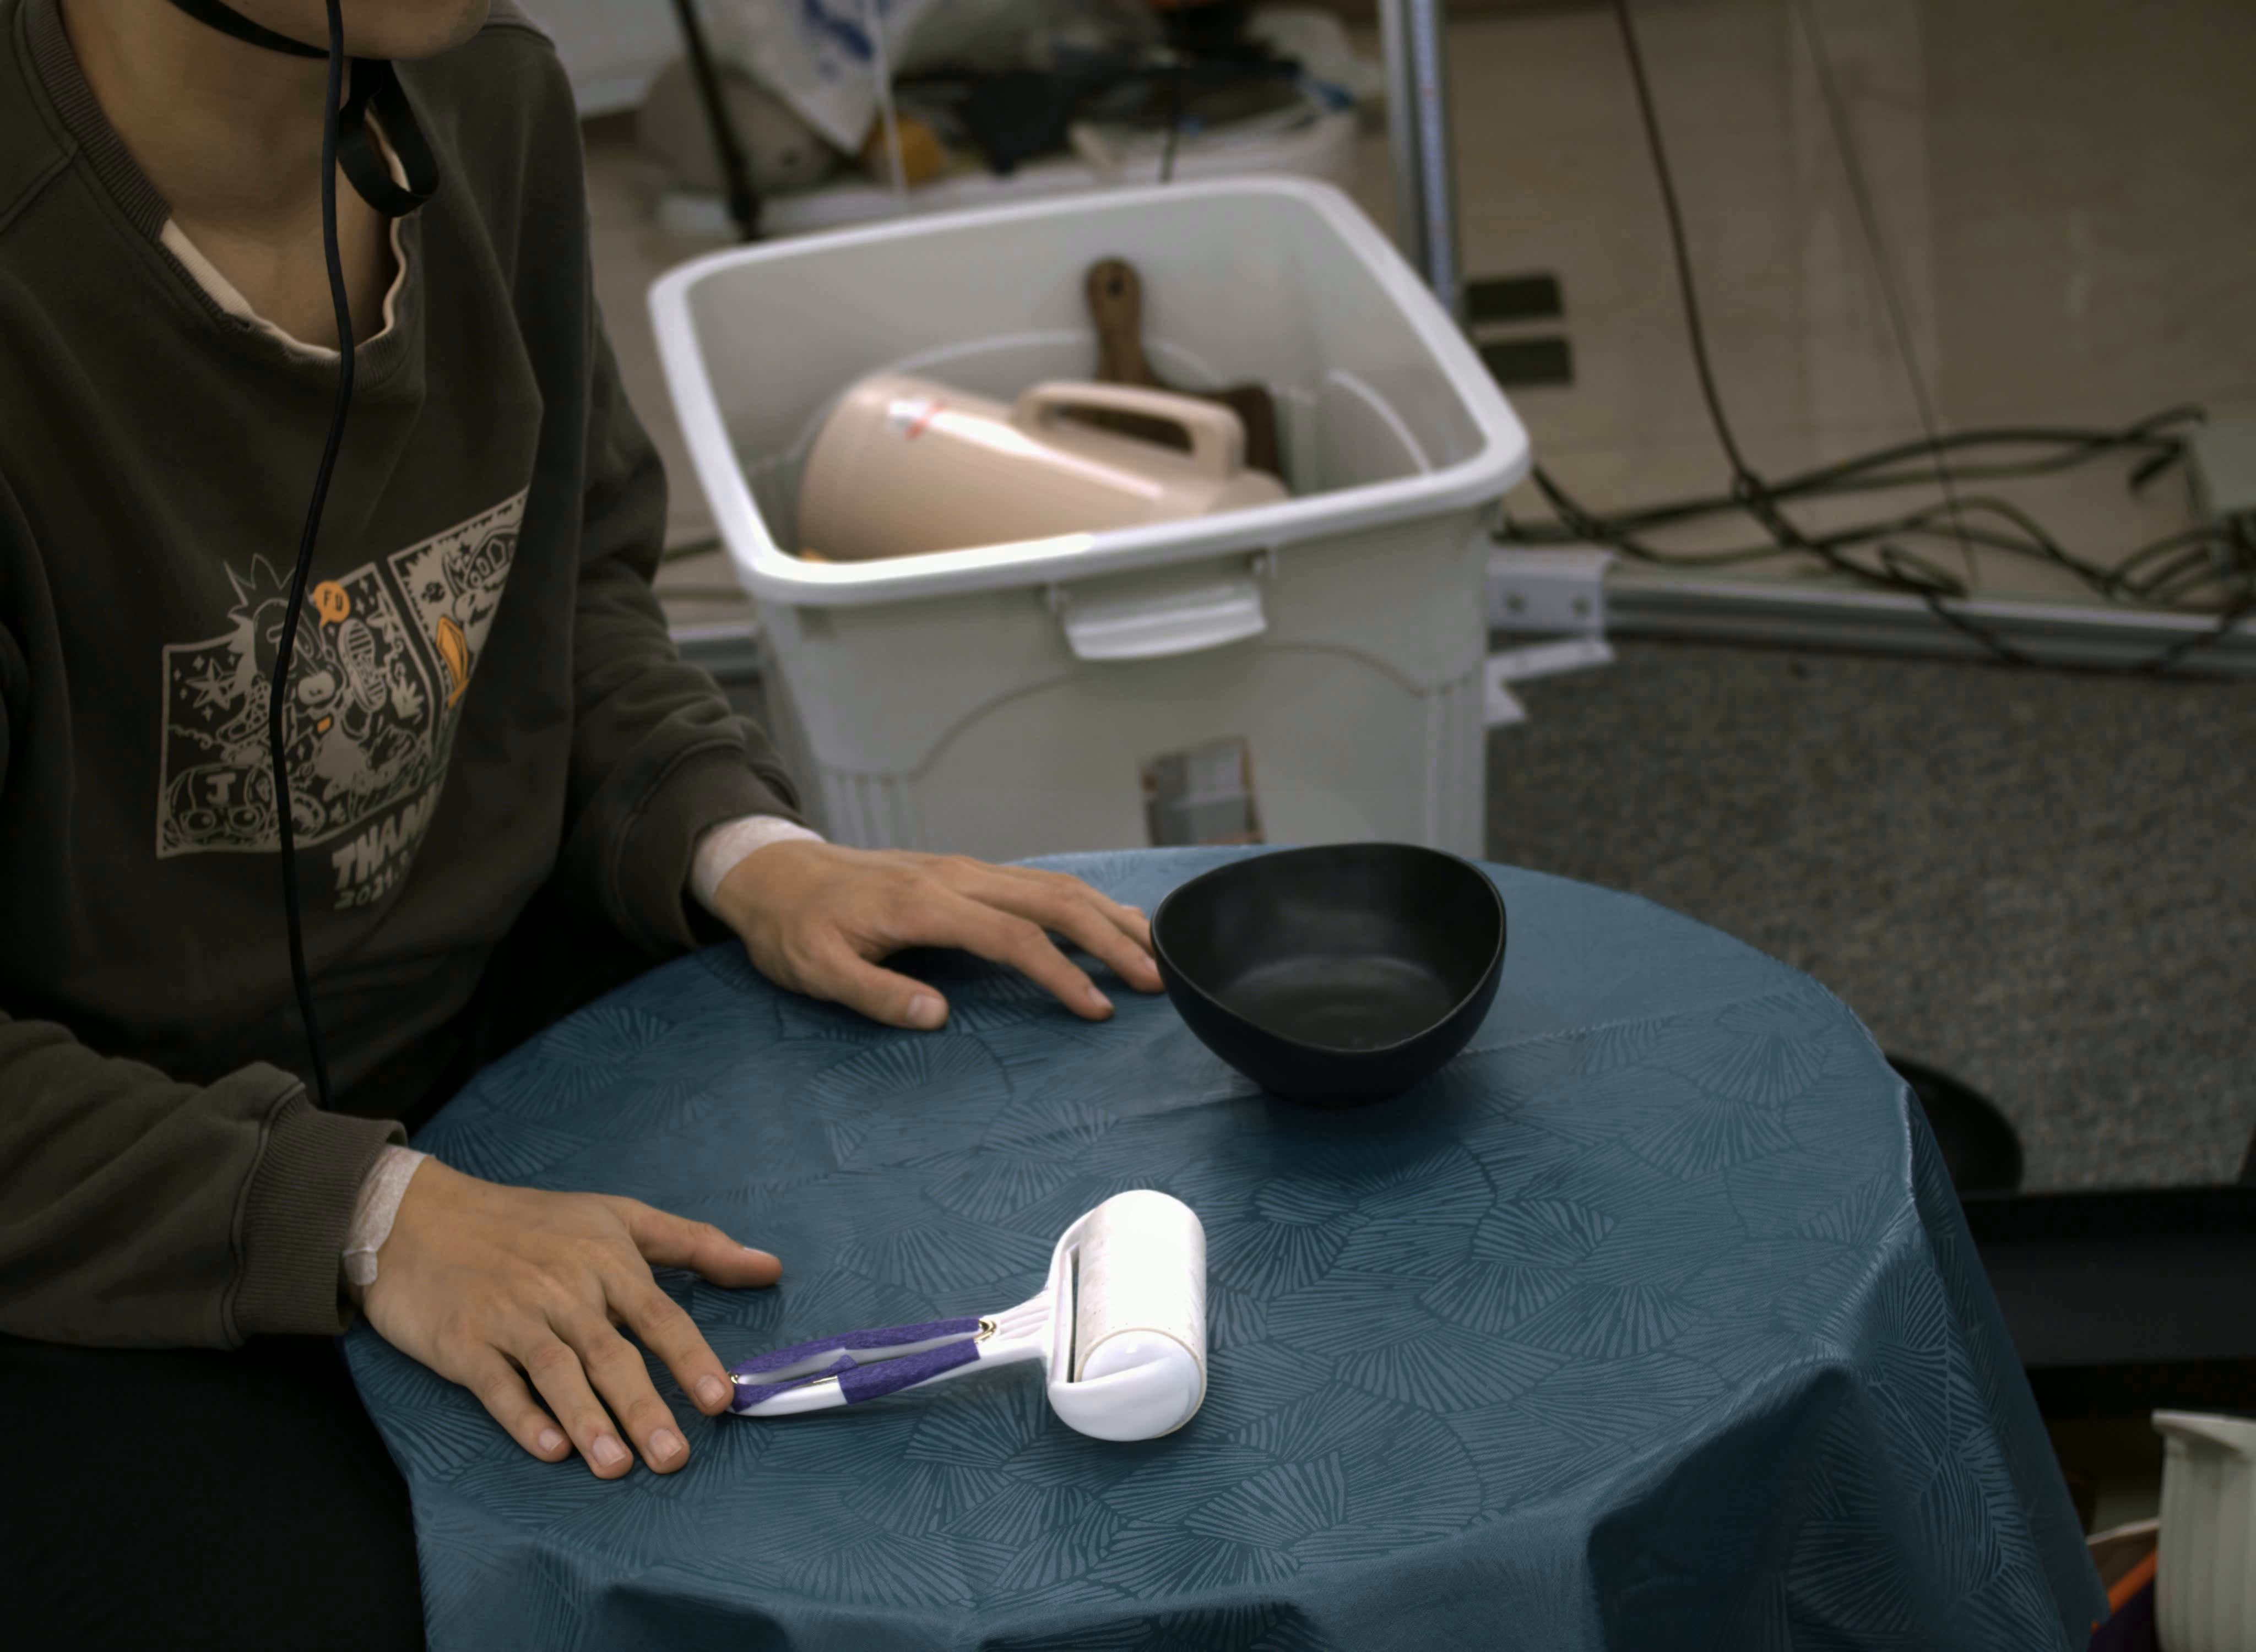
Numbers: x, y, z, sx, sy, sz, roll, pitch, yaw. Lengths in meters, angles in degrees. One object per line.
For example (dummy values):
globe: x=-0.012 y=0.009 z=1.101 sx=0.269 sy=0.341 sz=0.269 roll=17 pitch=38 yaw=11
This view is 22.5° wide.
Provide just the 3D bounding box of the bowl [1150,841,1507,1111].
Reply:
bowl: x=0.082 y=0.066 z=2.207 sx=0.137 sy=0.068 sz=0.168 roll=-12 pitch=27 yaw=-10

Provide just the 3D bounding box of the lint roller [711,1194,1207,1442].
lint roller: x=-0.060 y=0.177 z=2.023 sx=0.180 sy=0.051 sz=0.131 roll=-2 pitch=26 yaw=4
